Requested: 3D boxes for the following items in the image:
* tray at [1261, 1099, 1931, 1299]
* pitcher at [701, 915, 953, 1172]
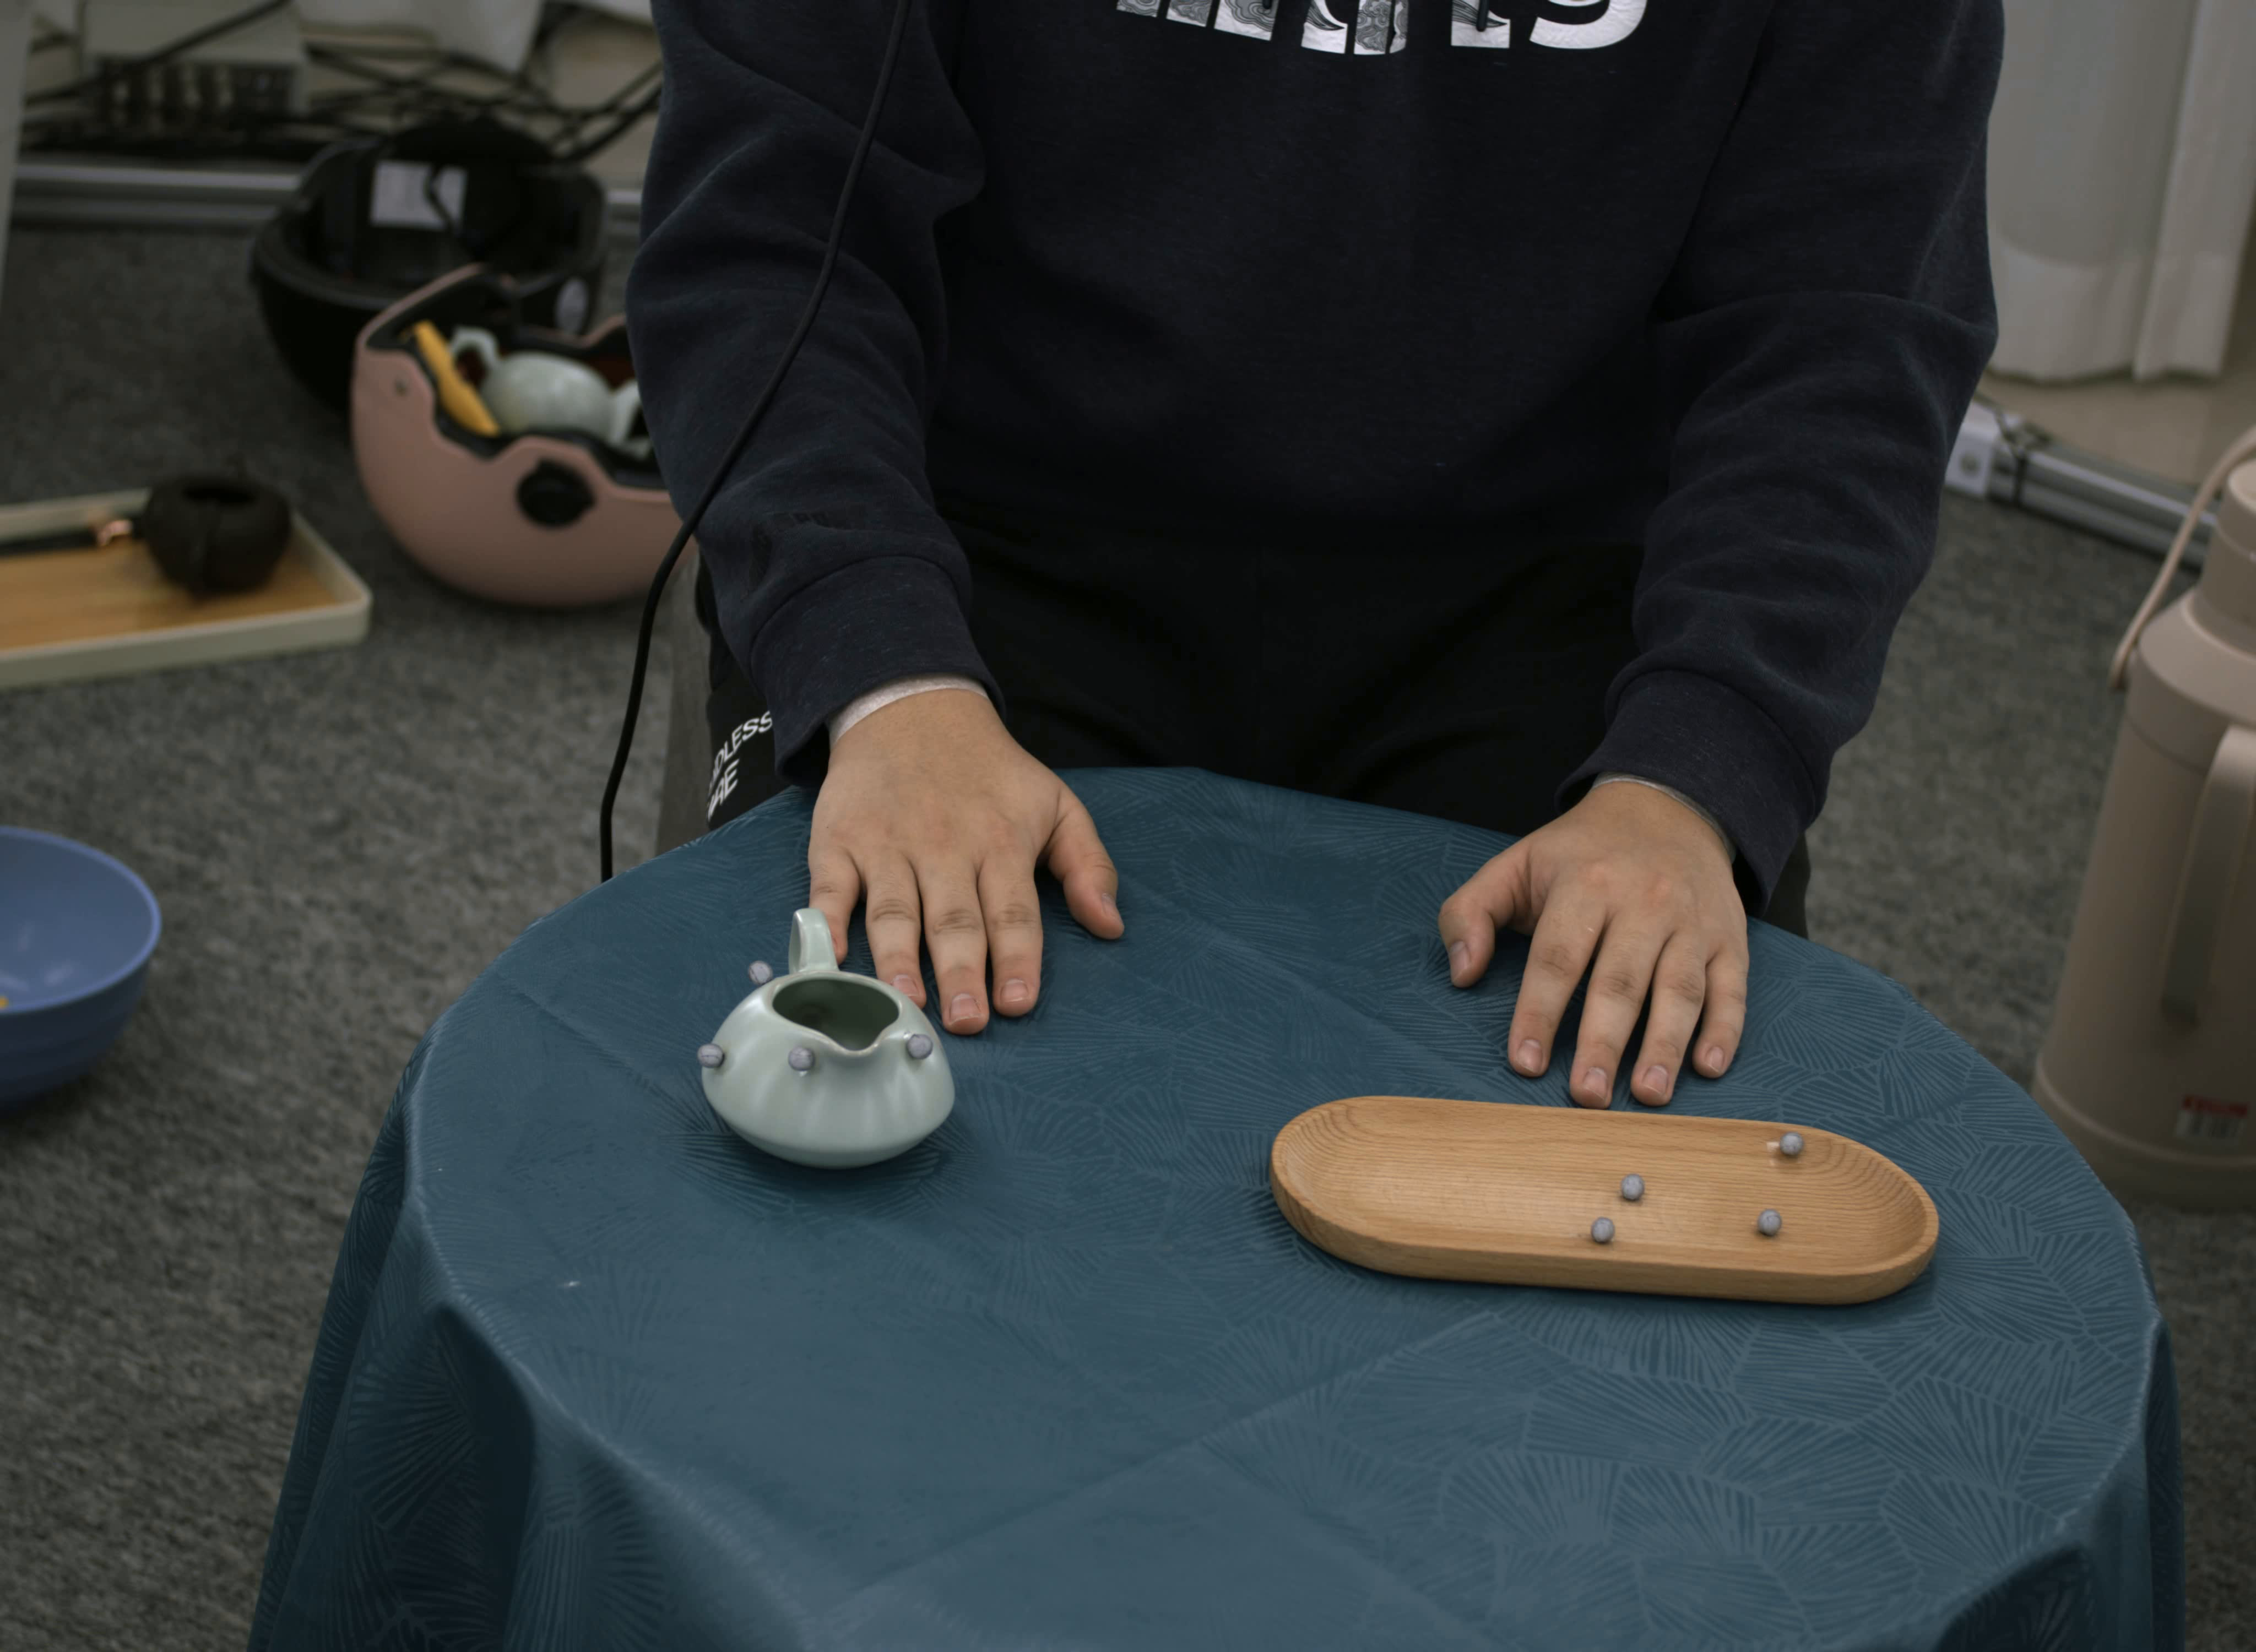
[{"bbox_3d":[0.160,0.128,1.818,0.230,0.020,0.102,2,25,-5],"label":"tray"},{"bbox_3d":[-0.104,0.076,1.815,0.085,0.060,0.109,0,25,-15],"label":"pitcher"}]
